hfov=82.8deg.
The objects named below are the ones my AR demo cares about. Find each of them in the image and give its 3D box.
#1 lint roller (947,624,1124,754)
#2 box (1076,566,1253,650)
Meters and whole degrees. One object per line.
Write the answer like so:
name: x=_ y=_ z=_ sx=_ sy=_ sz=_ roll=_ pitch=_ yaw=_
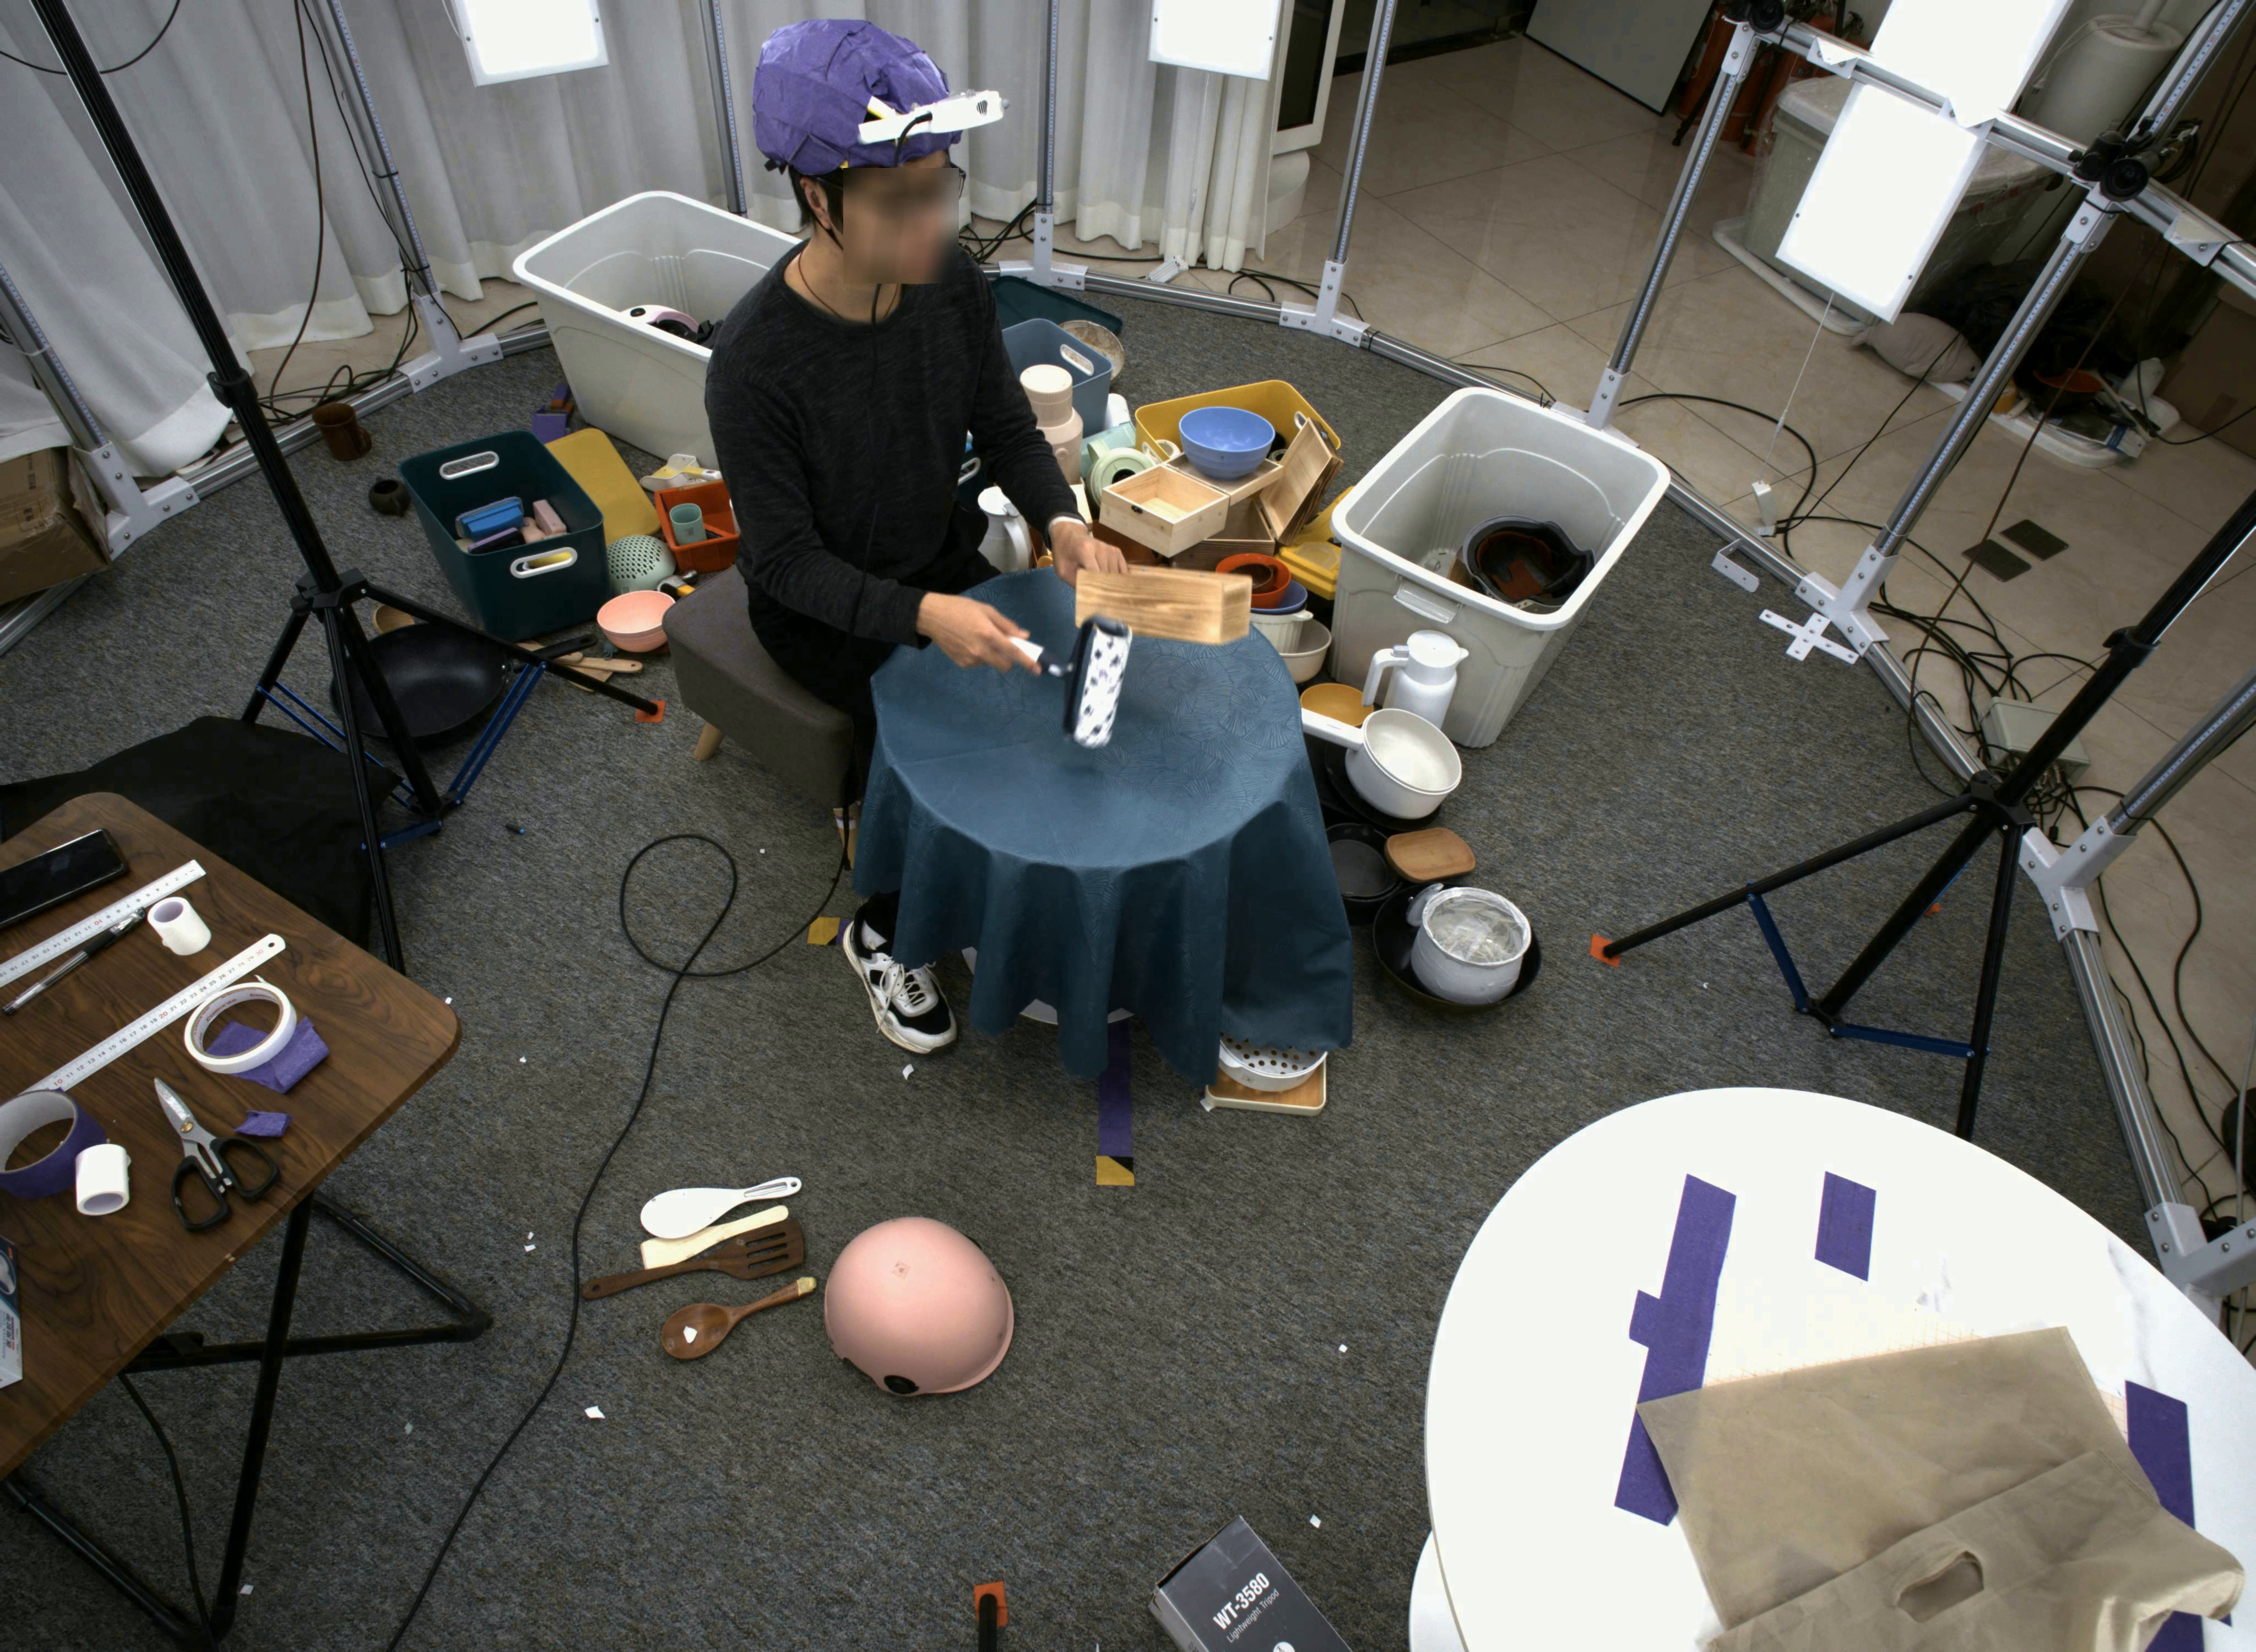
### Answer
lint roller: x=-0.132 y=-0.210 z=1.688 sx=0.248 sy=0.172 sz=0.051 roll=23 pitch=36 yaw=13
box: x=0.048 y=-0.296 z=1.732 sx=0.213 sy=0.079 sz=0.108 roll=11 pitch=18 yaw=23
